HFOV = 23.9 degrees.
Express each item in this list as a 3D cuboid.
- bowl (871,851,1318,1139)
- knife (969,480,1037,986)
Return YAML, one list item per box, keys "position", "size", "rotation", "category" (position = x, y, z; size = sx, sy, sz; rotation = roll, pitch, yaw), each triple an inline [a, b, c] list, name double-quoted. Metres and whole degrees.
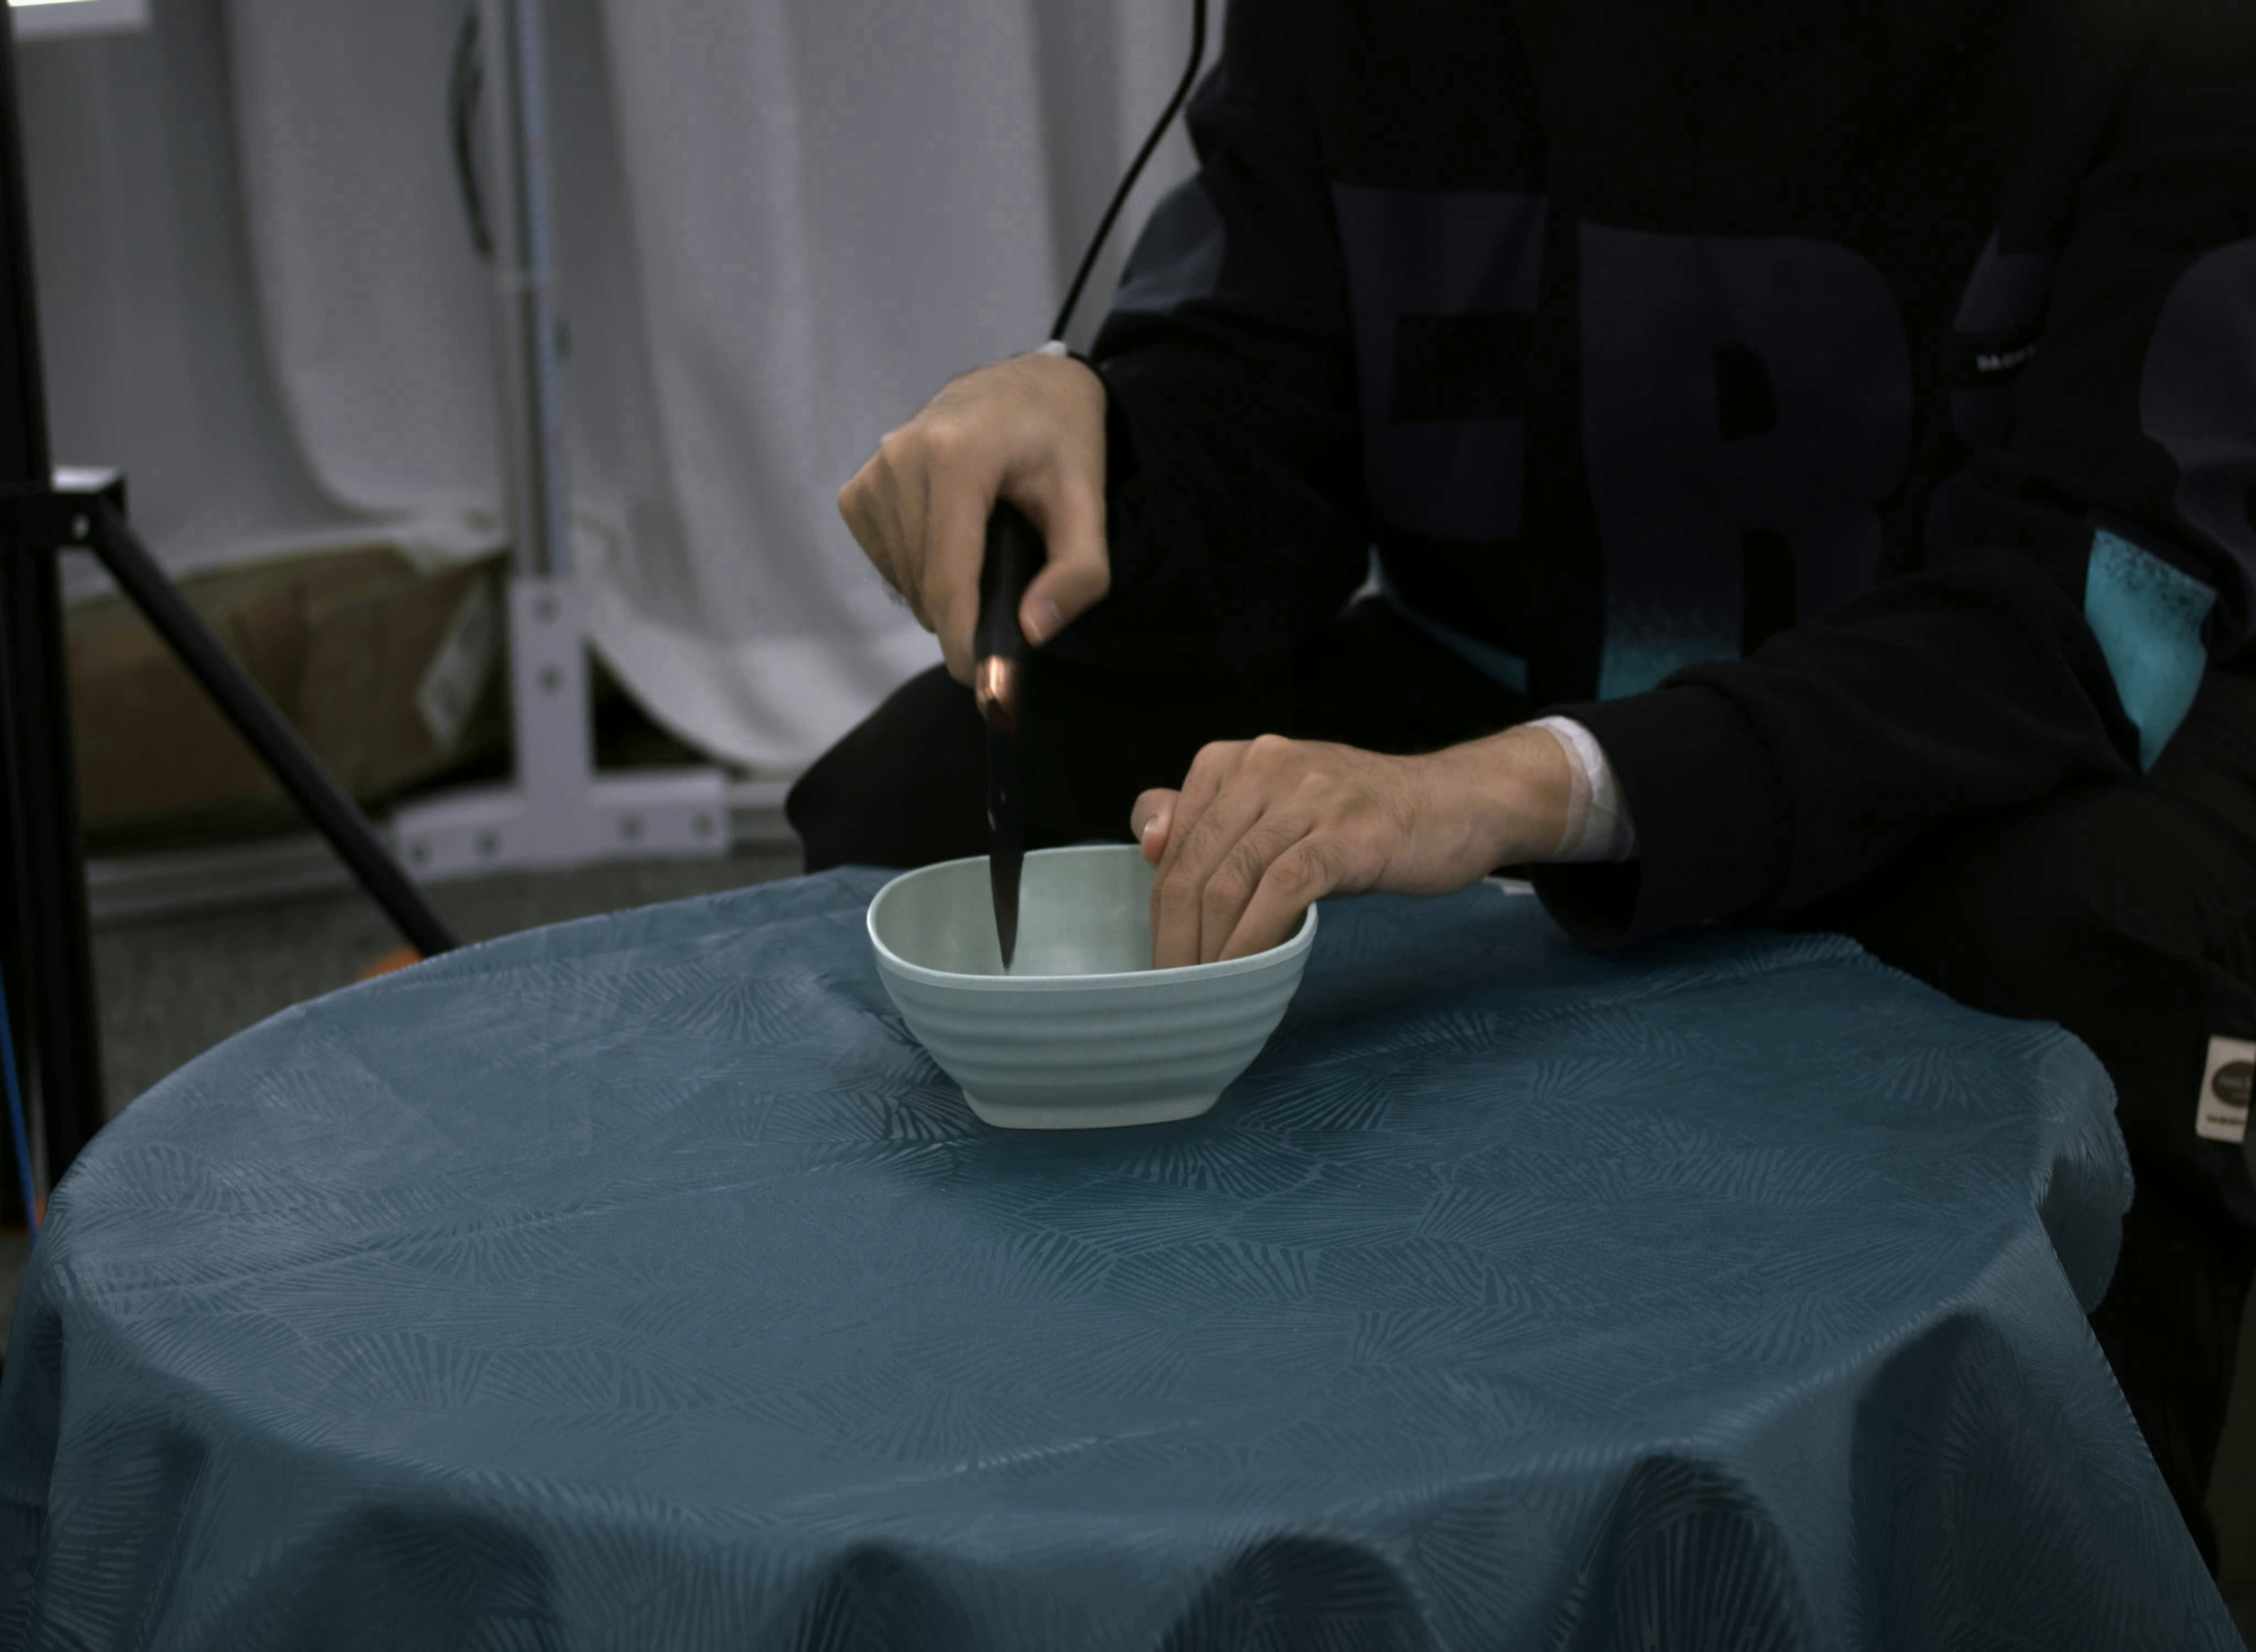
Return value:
- position: [-0.009, 0.055, 1.647]
  size: [0.151, 0.058, 0.152]
  rotation: [-4, 15, 0]
  category: "bowl"
- position: [-0.038, -0.028, 1.699]
  size: [0.017, 0.026, 0.228]
  rotation: [-20, 45, 15]
  category: "knife"
